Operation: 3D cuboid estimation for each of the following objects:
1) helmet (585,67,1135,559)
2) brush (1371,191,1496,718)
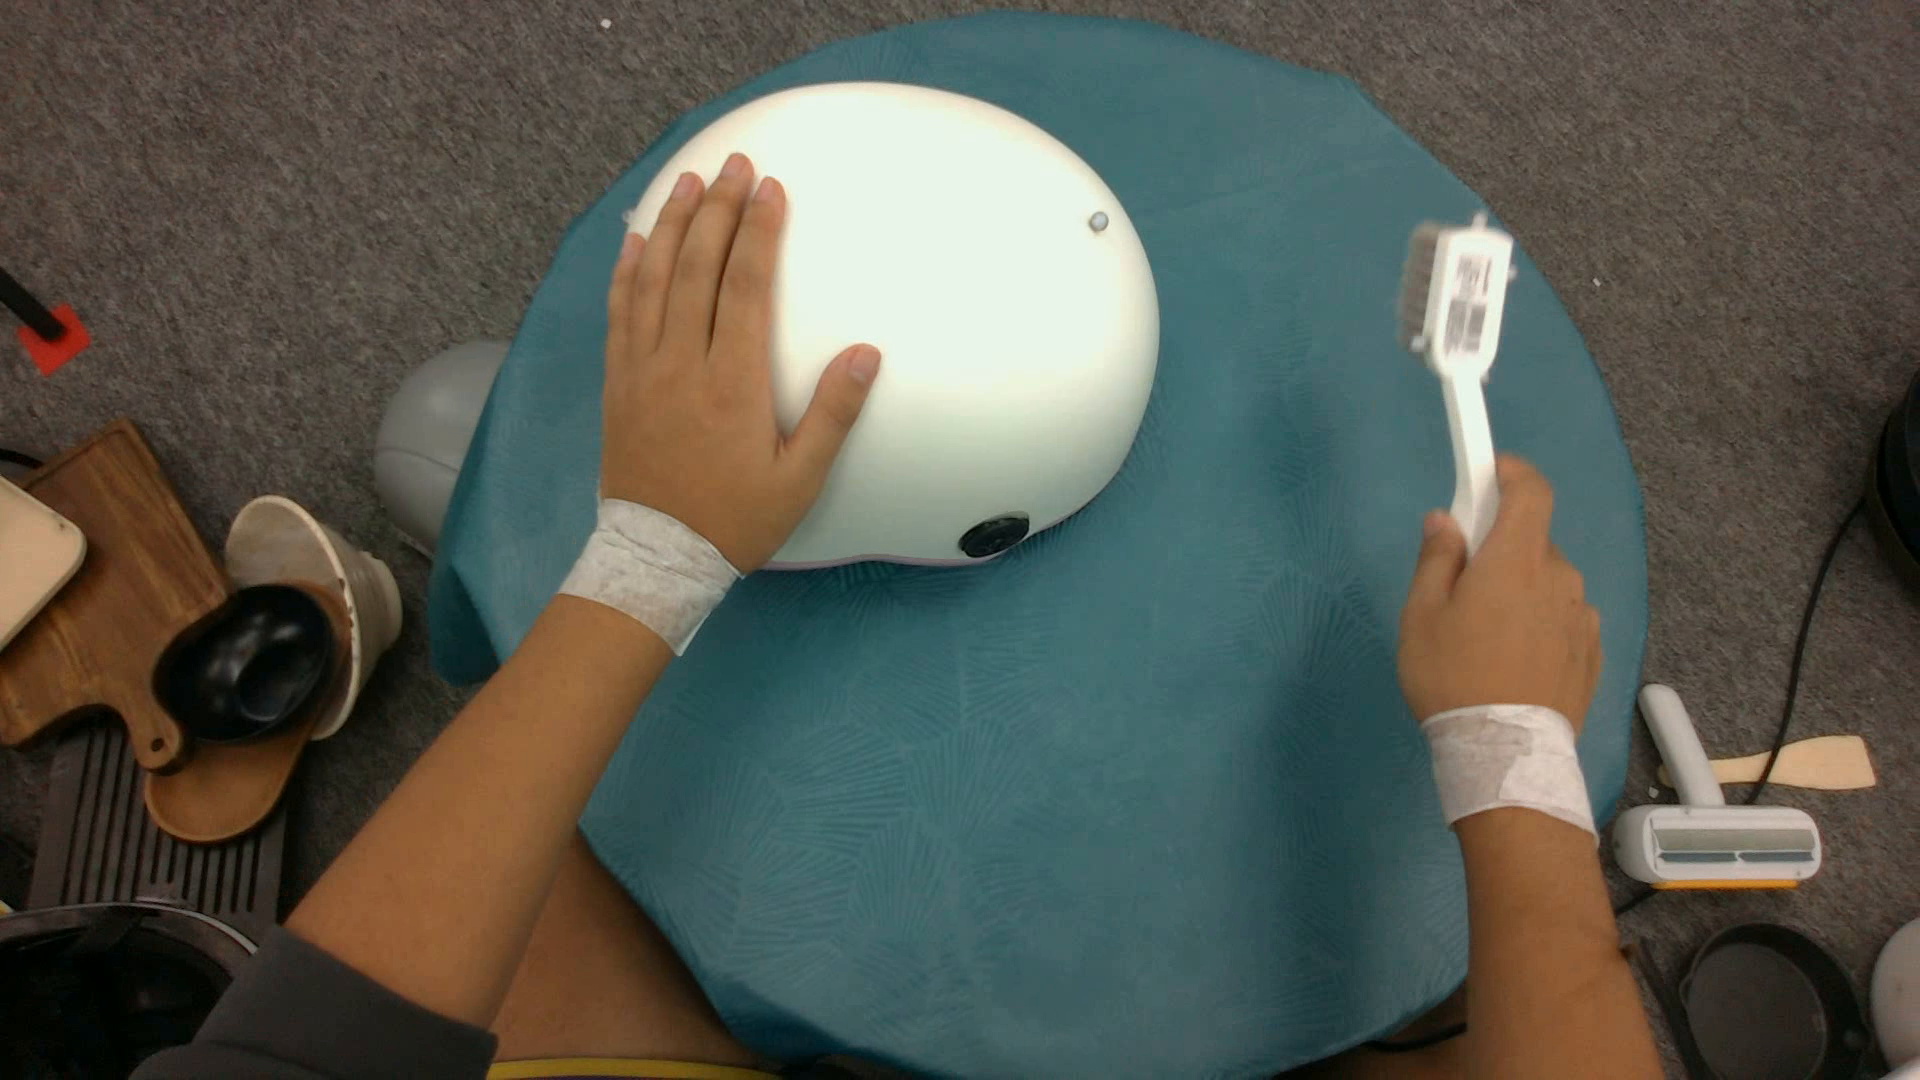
[{"bbox_3d":[-0.041,-0.120,0.641,0.269,0.166,0.237,-10,70,-11],"label":"helmet"},{"bbox_3d":[0.217,-0.042,0.632,0.034,0.050,0.244,0,86,-19],"label":"brush"}]
